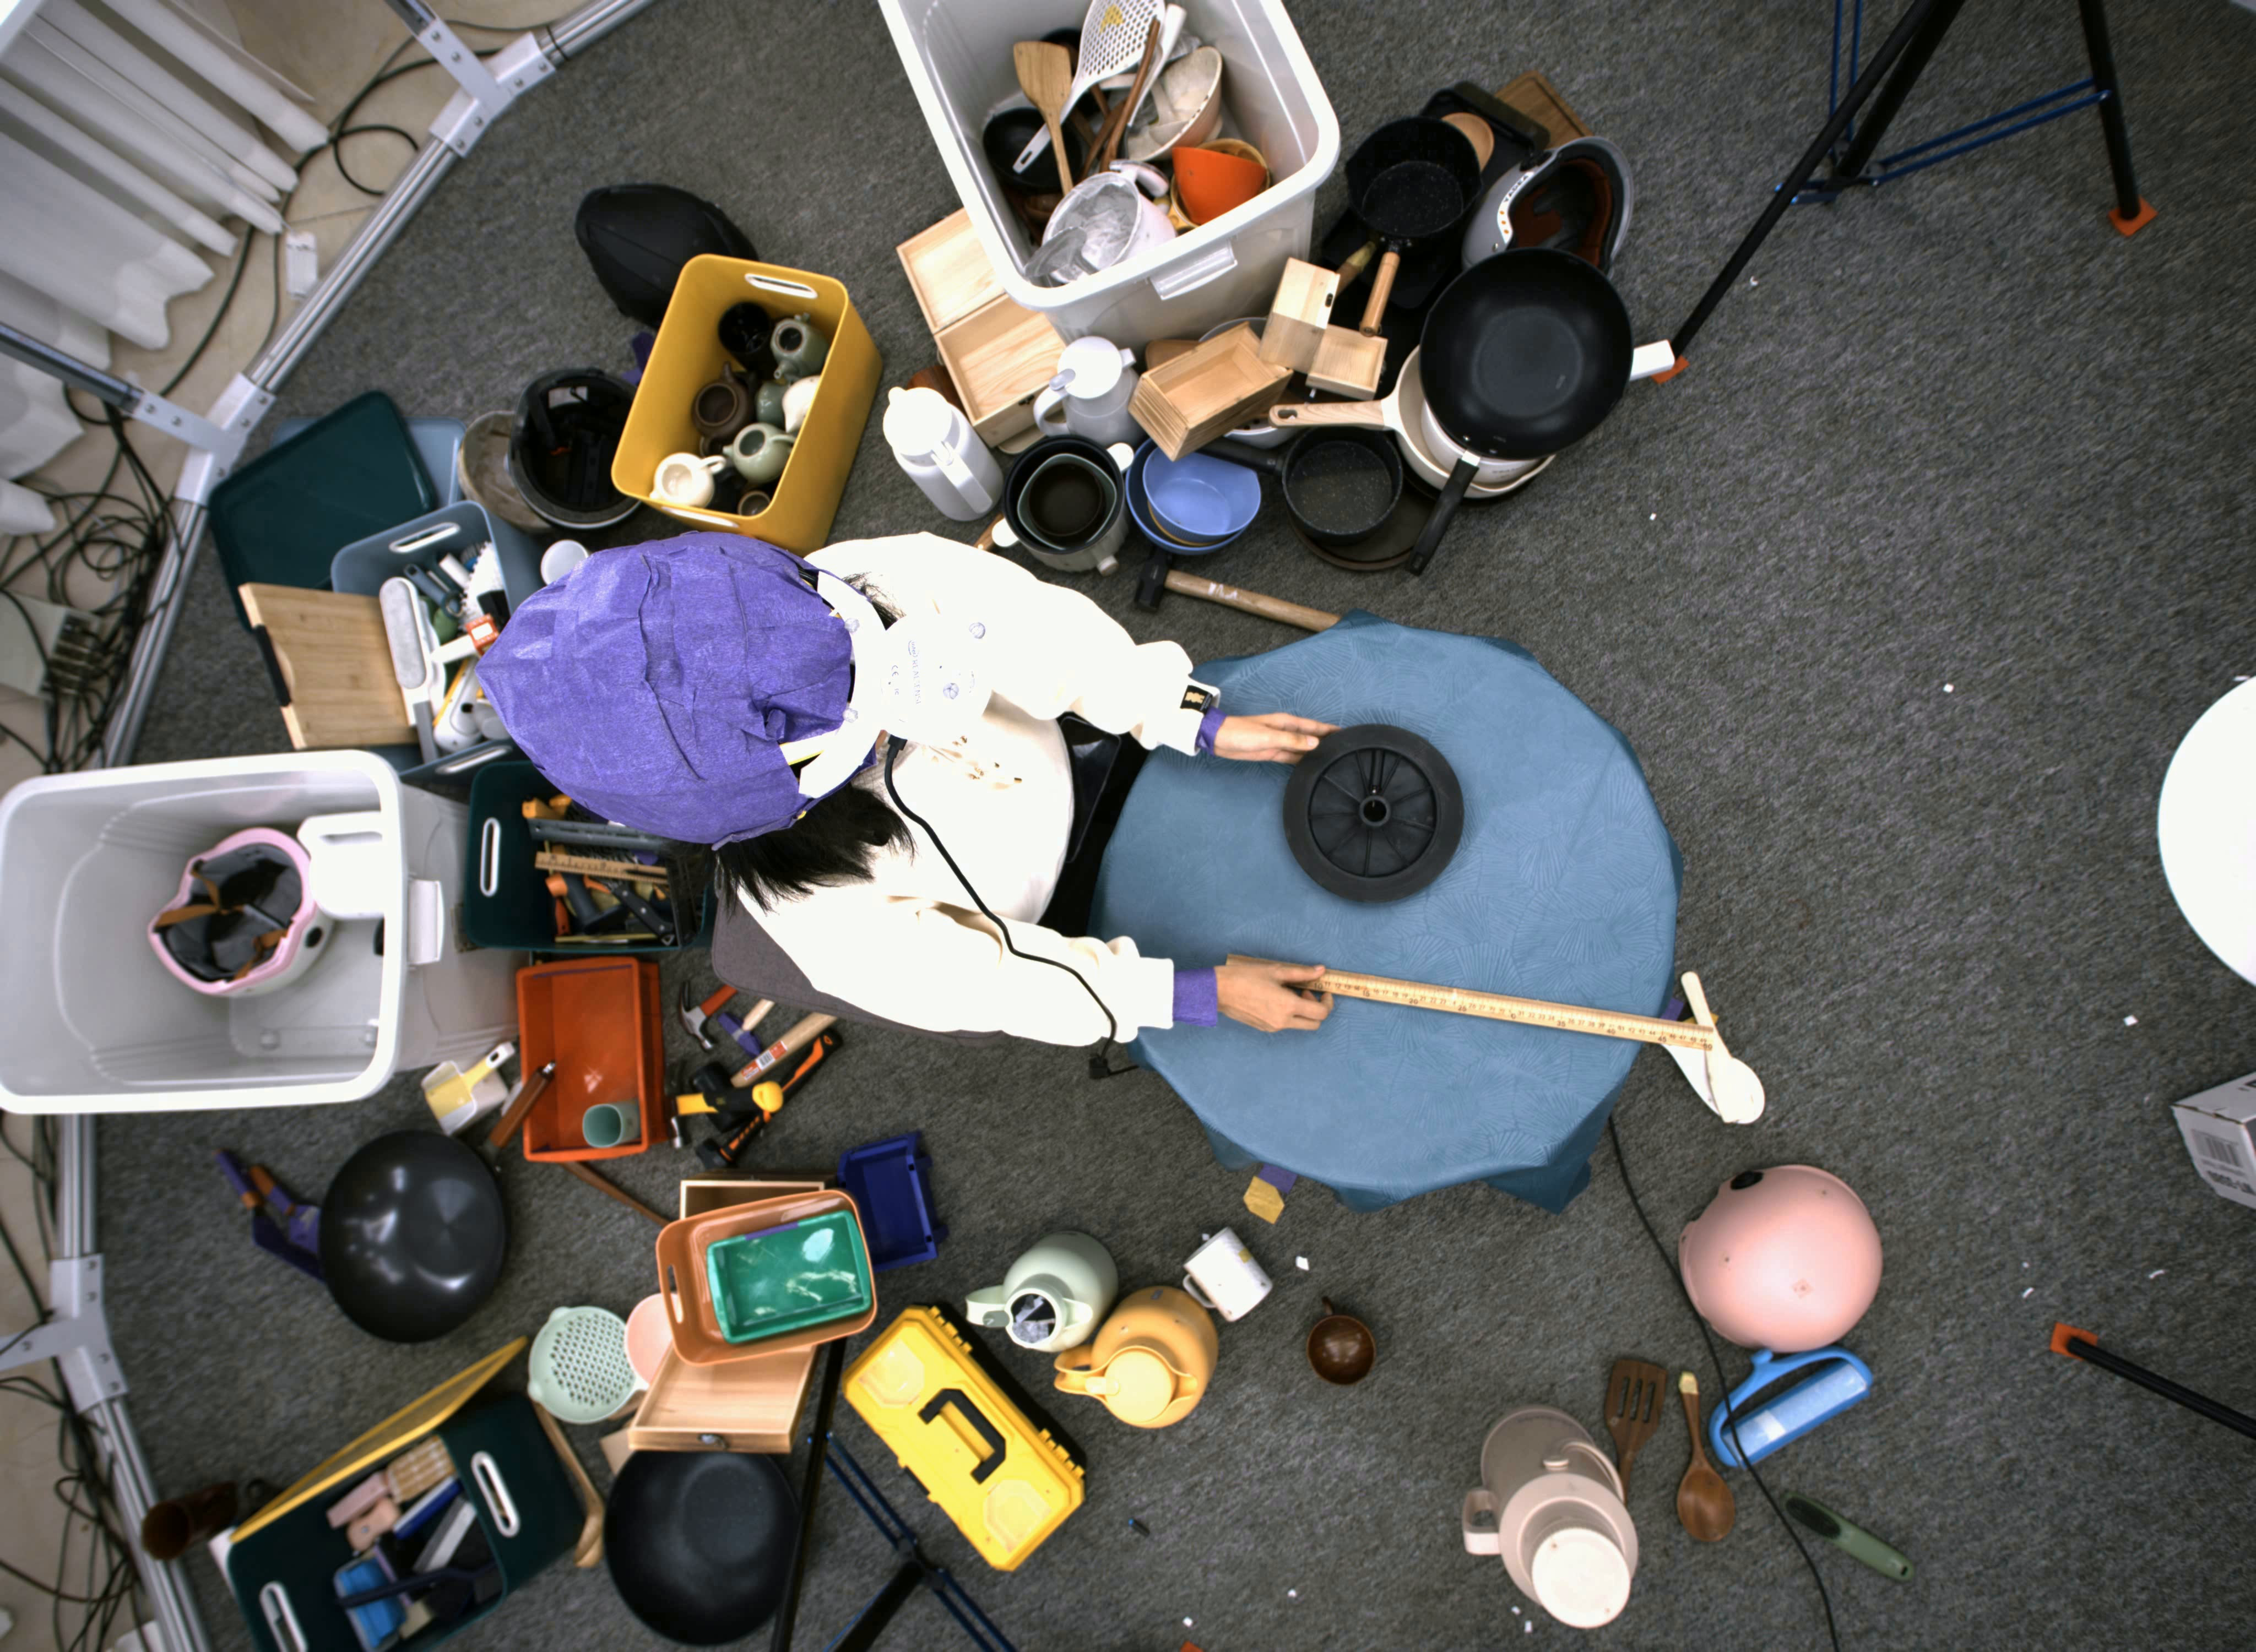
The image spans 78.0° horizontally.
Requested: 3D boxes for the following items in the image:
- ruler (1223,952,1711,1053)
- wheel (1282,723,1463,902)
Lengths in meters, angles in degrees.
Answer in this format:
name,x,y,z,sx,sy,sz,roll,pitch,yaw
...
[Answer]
name,x,y,z,sx,sy,sz,roll,pitch,yaw
ruler,0.346,0.180,1.434,0.502,0.006,0.026,8,69,11
wheel,0.253,-0.016,1.427,0.188,0.079,0.189,-17,88,8
